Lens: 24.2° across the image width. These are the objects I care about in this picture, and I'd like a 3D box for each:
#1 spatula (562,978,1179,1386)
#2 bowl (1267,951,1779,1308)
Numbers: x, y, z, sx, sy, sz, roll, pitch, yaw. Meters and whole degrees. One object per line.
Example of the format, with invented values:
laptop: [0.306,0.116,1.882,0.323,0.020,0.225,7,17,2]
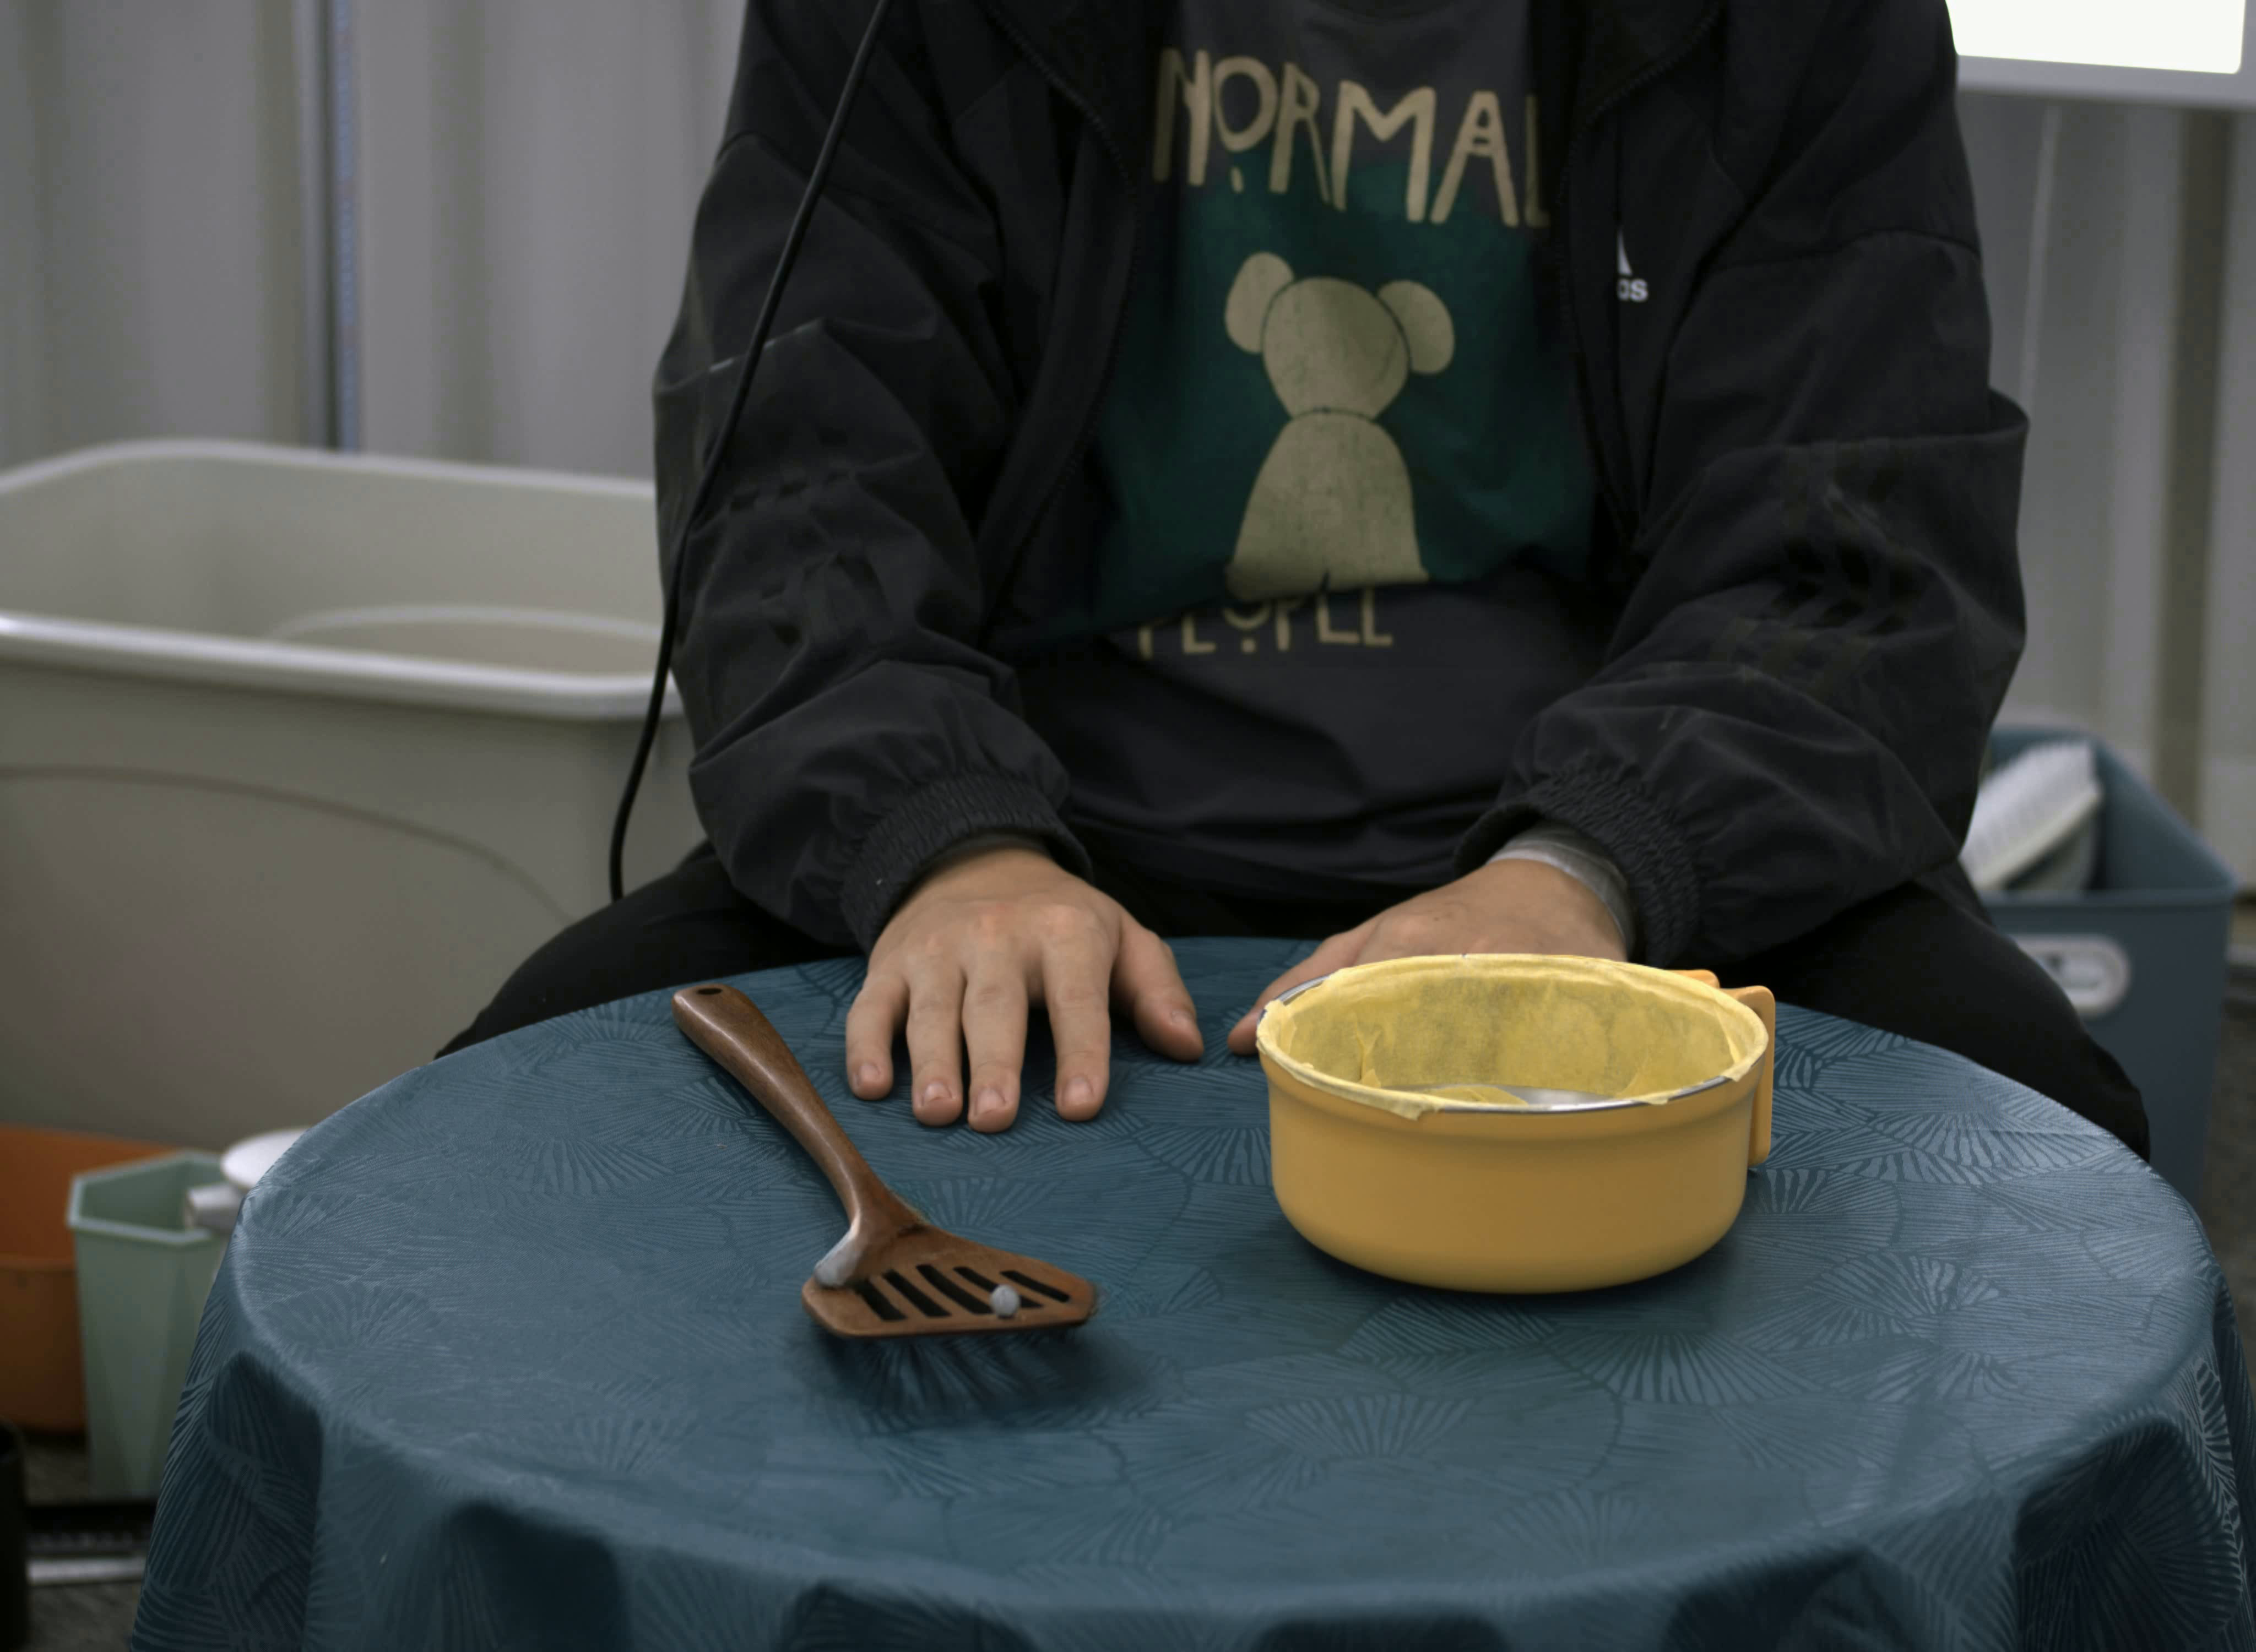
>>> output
spatula: [-0.101,0.110,1.616,0.086,0.024,0.382,2,15,-28]
bowl: [0.127,0.091,1.588,0.151,0.075,0.180,15,21,41]
